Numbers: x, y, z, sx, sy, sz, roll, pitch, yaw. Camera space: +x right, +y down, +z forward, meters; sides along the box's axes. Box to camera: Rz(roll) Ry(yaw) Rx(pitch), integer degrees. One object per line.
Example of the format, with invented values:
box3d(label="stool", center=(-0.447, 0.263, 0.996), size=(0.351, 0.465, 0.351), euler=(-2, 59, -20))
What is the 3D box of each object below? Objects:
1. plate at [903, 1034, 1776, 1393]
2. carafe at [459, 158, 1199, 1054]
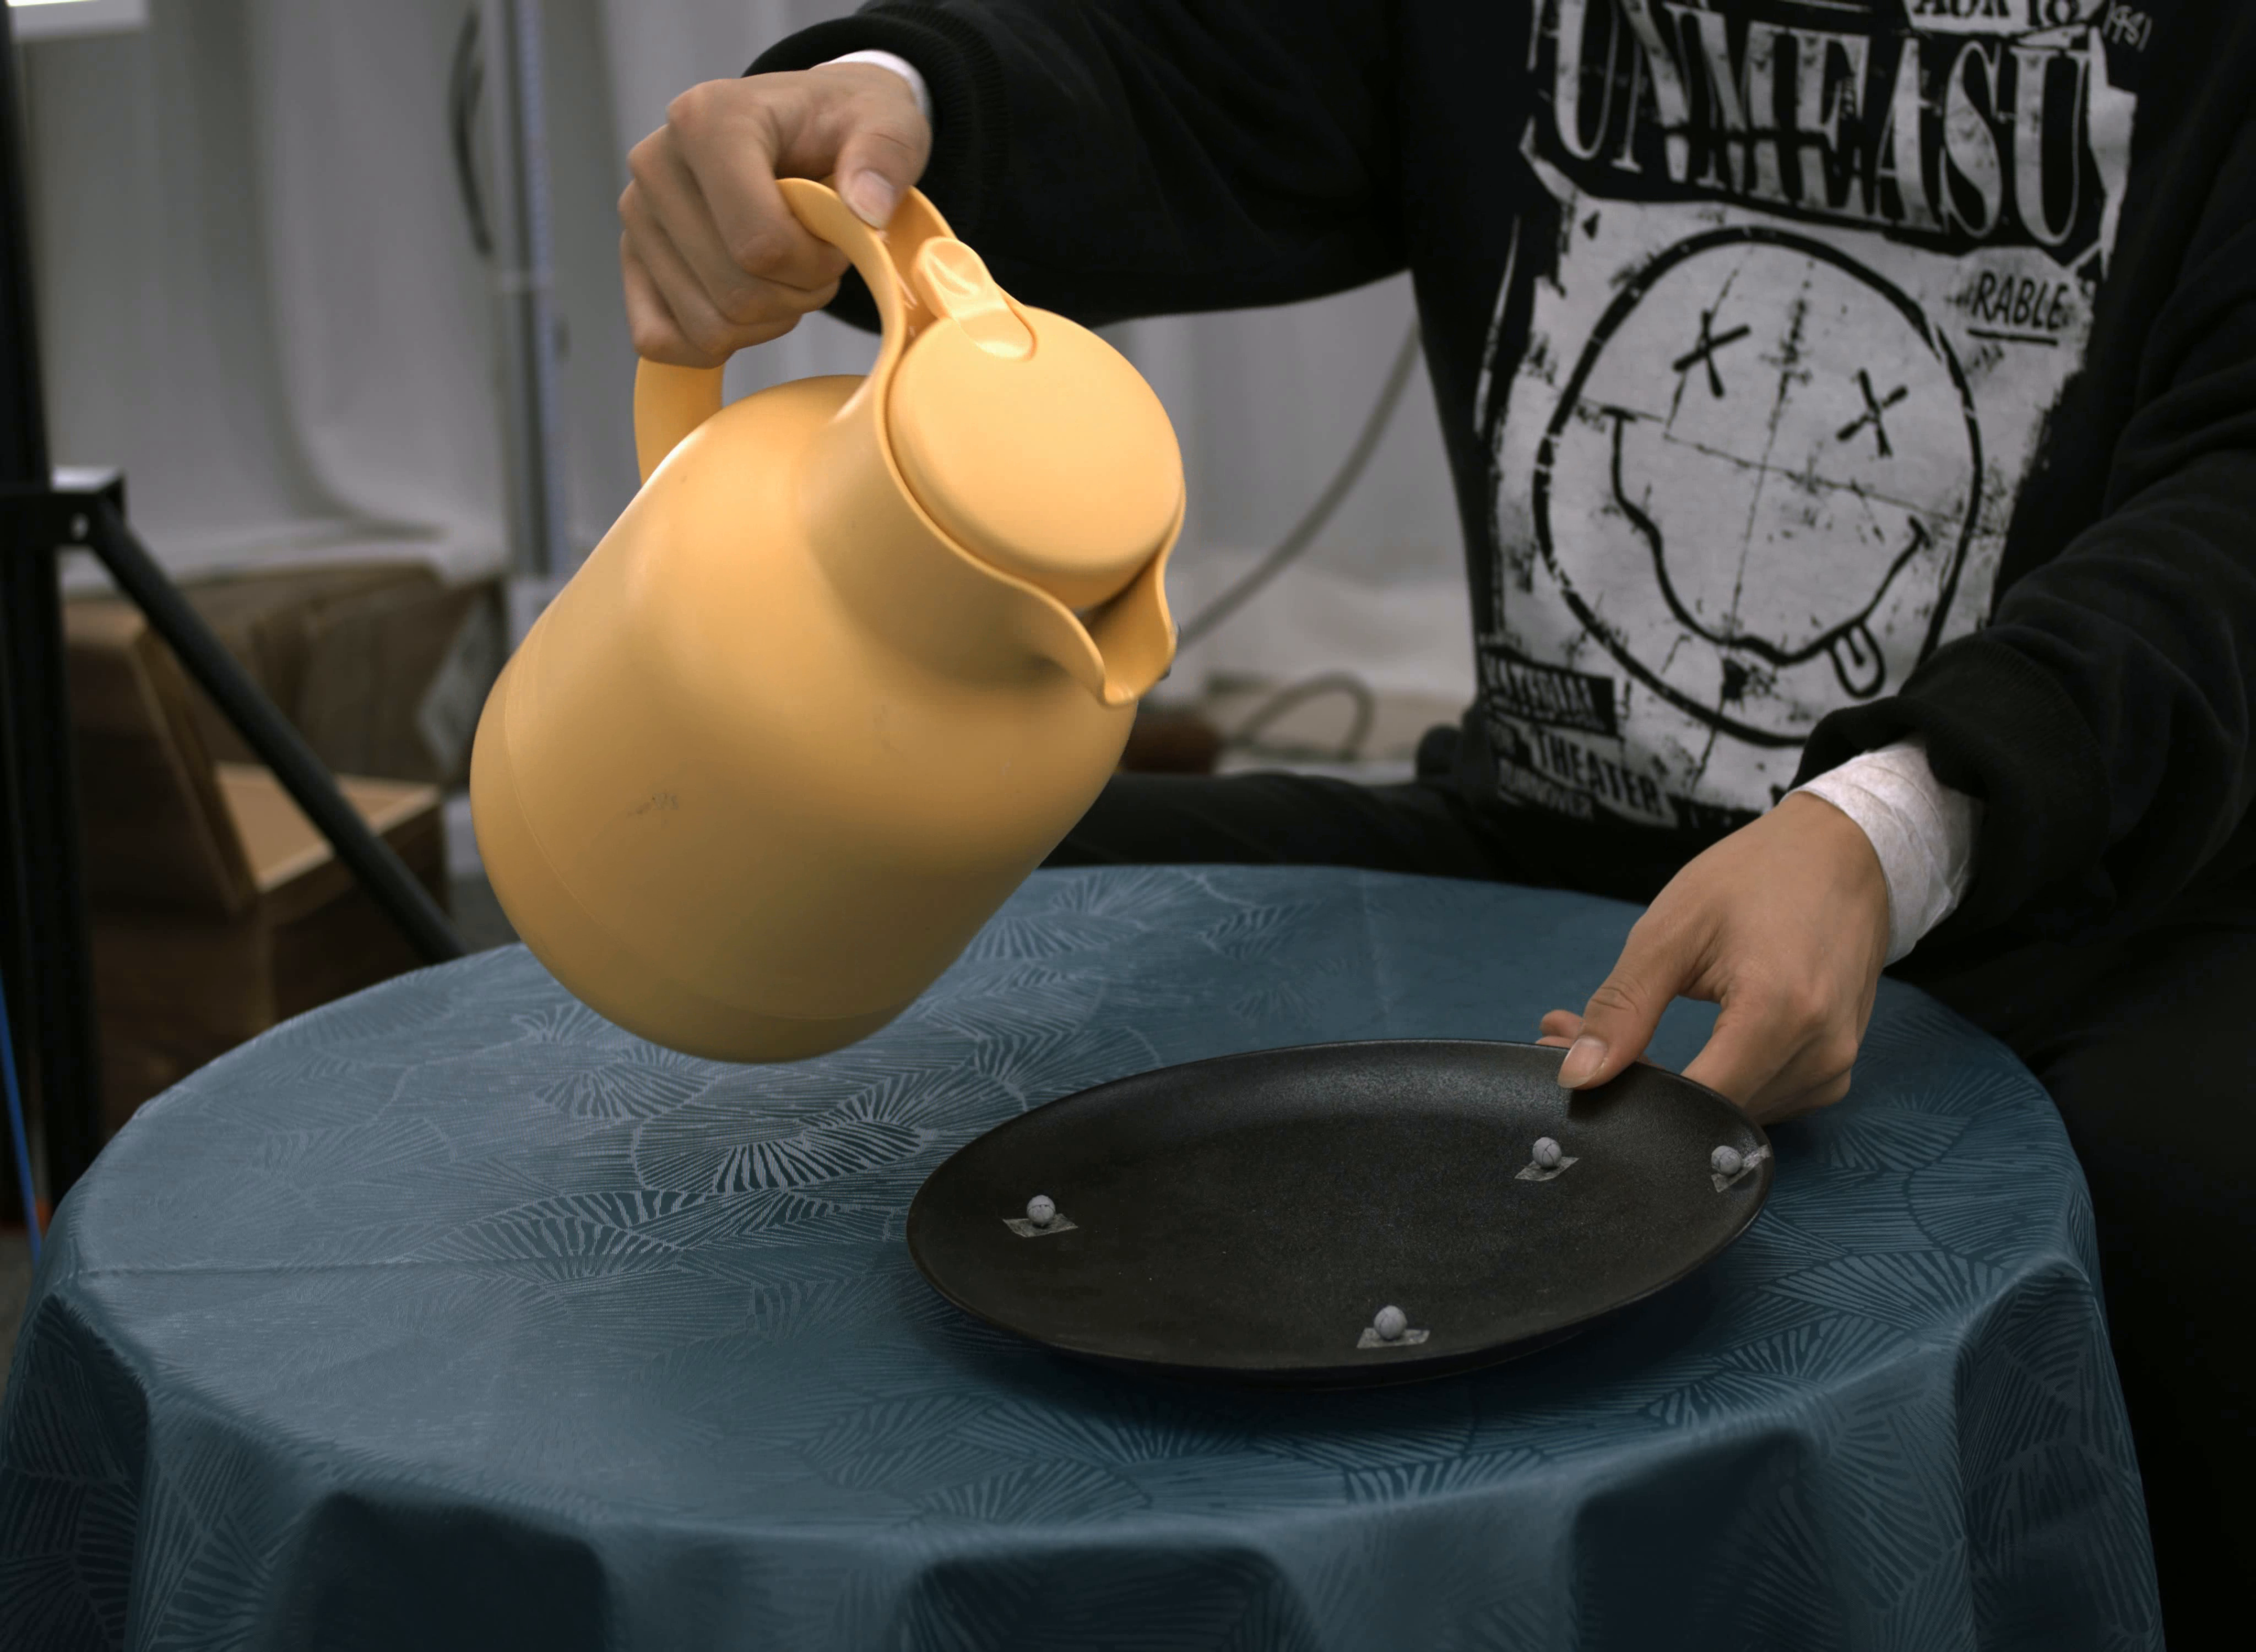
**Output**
box3d(label="plate", center=(0.059, 0.111, 1.473), size=(0.243, 0.023, 0.246), euler=(-6, 18, 0))
box3d(label="carafe", center=(-0.086, -0.068, 1.563), size=(0.159, 0.205, 0.263), euler=(-10, -21, -39))
